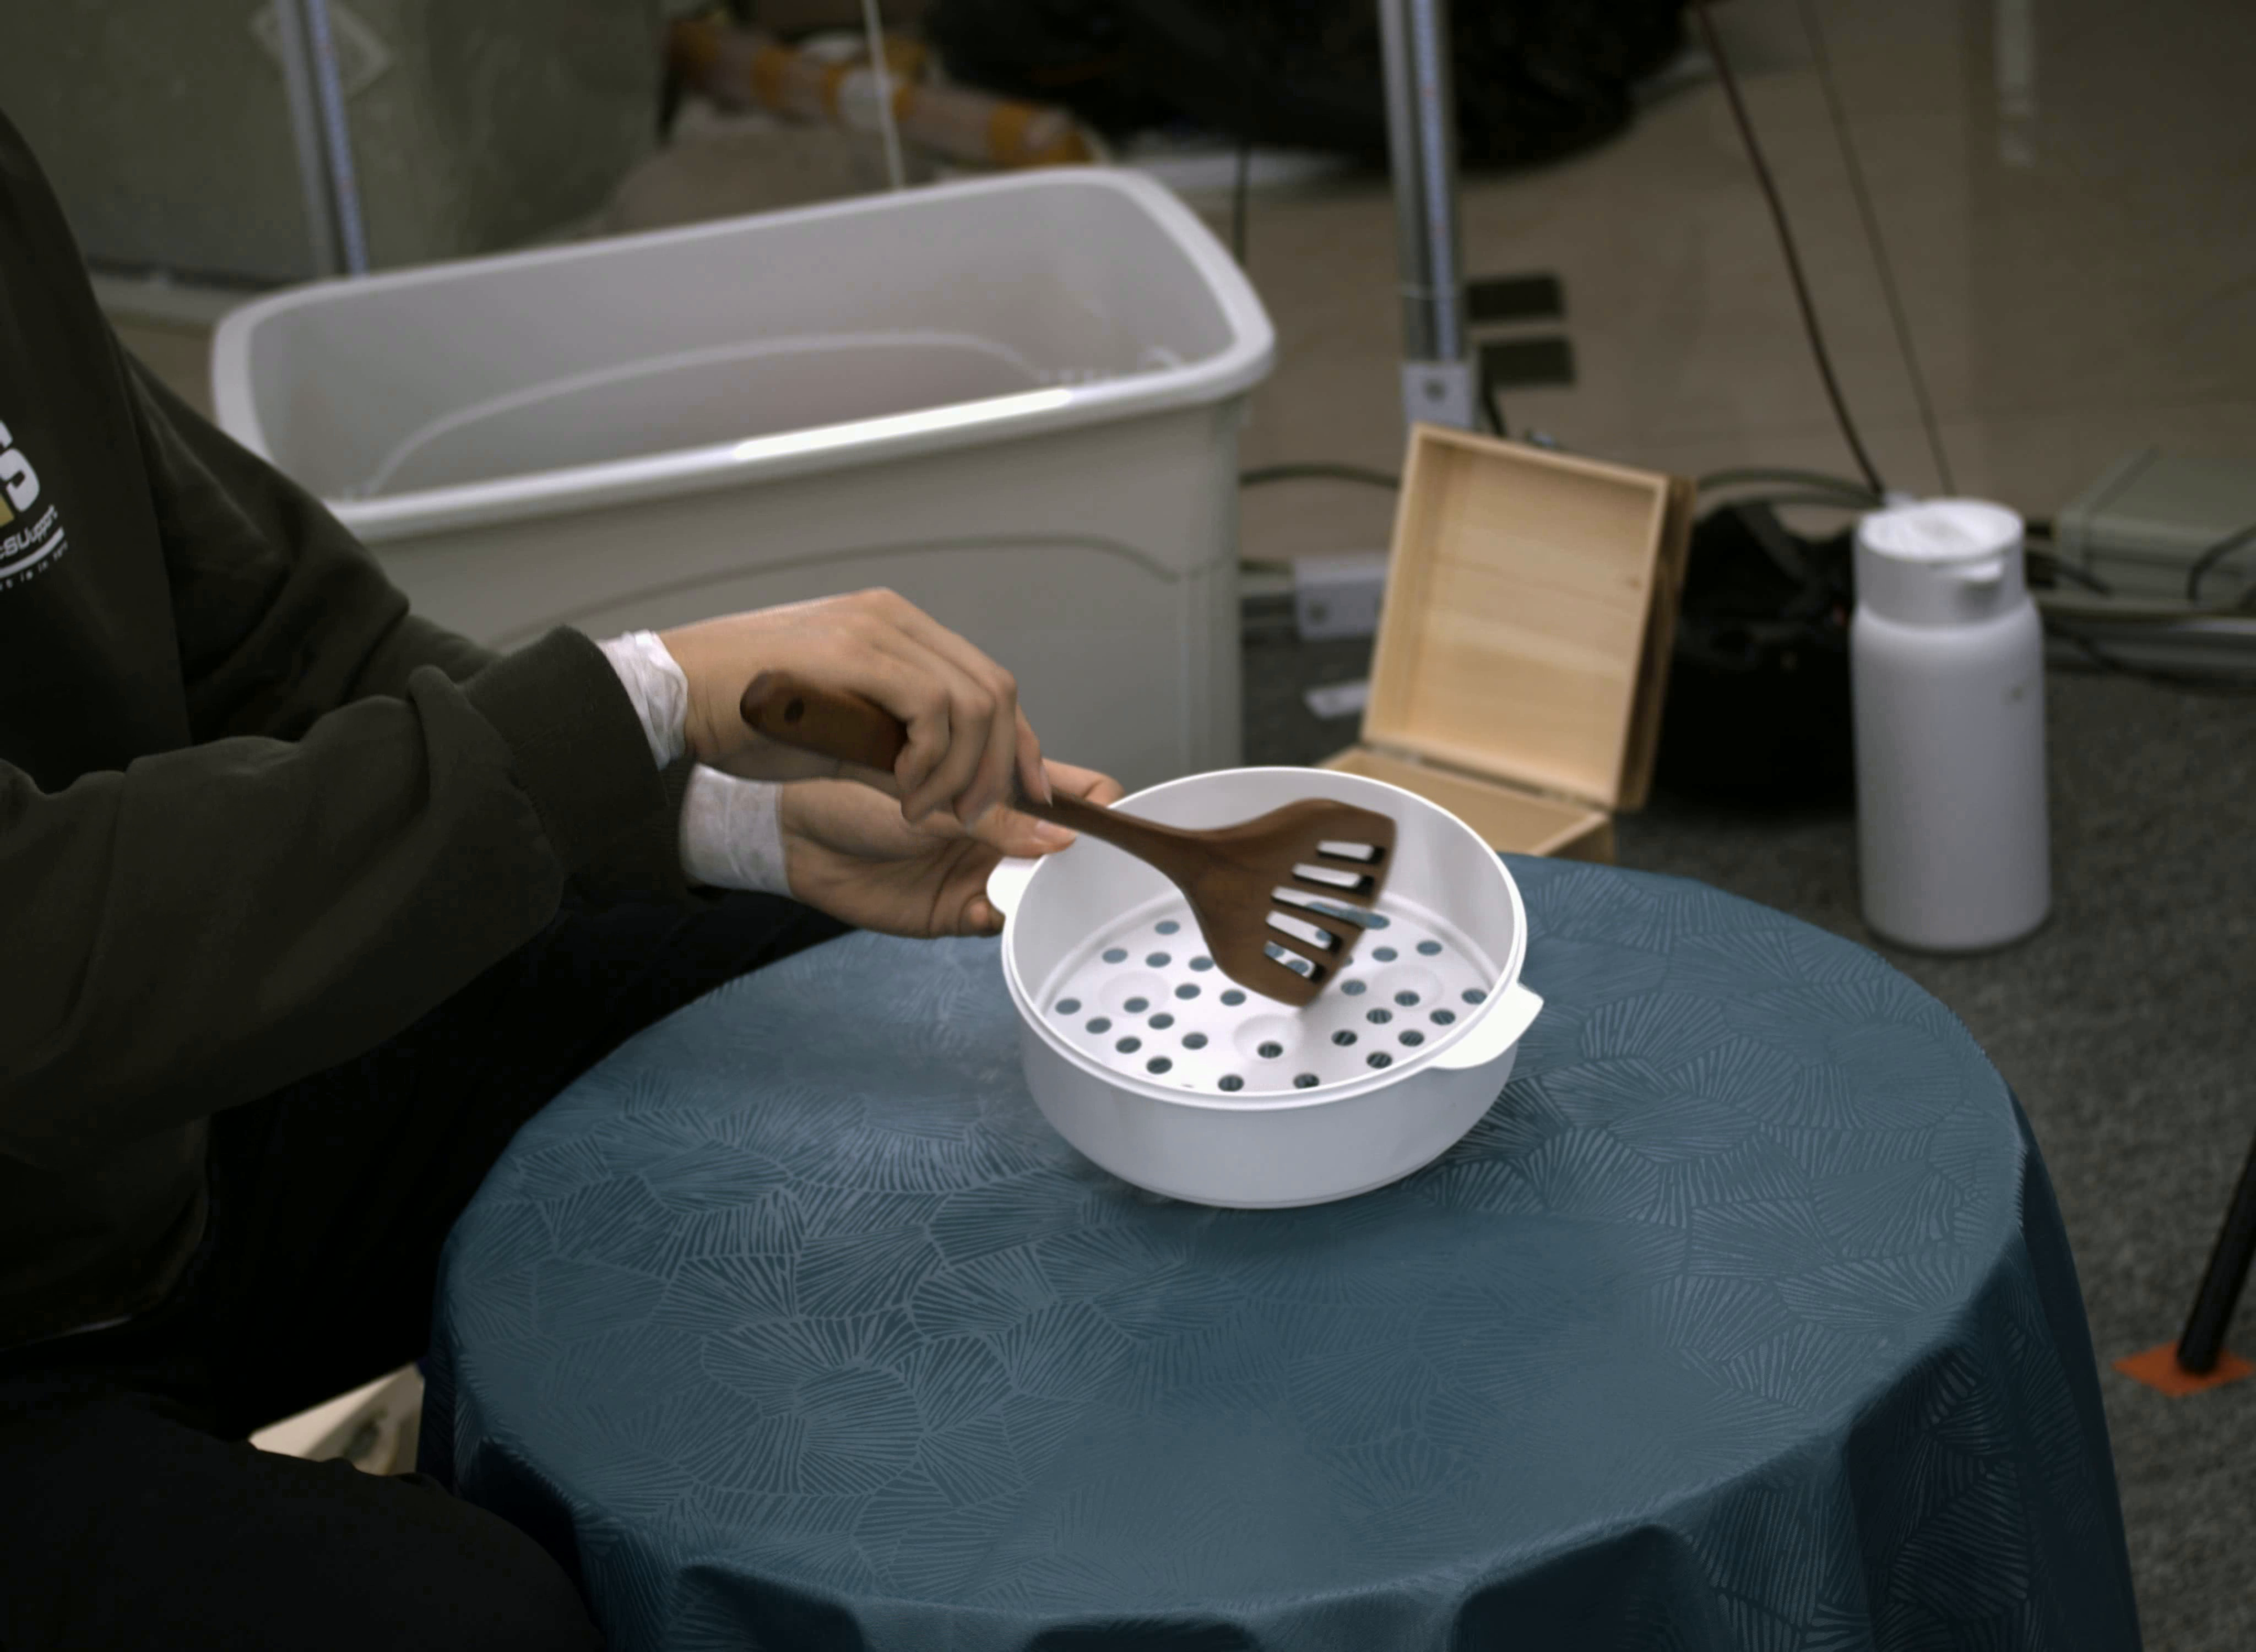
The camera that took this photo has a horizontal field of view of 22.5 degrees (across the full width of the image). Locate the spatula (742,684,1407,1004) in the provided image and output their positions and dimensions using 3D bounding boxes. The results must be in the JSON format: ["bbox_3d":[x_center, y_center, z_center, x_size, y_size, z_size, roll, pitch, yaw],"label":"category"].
[{"bbox_3d":[-0.012,-0.001,2.051,0.023,0.086,0.387,34,9,37],"label":"spatula"}]

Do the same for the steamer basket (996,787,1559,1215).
[{"bbox_3d":[0.058,0.068,2.178,0.229,0.070,0.199,17,42,29],"label":"steamer basket"}]
